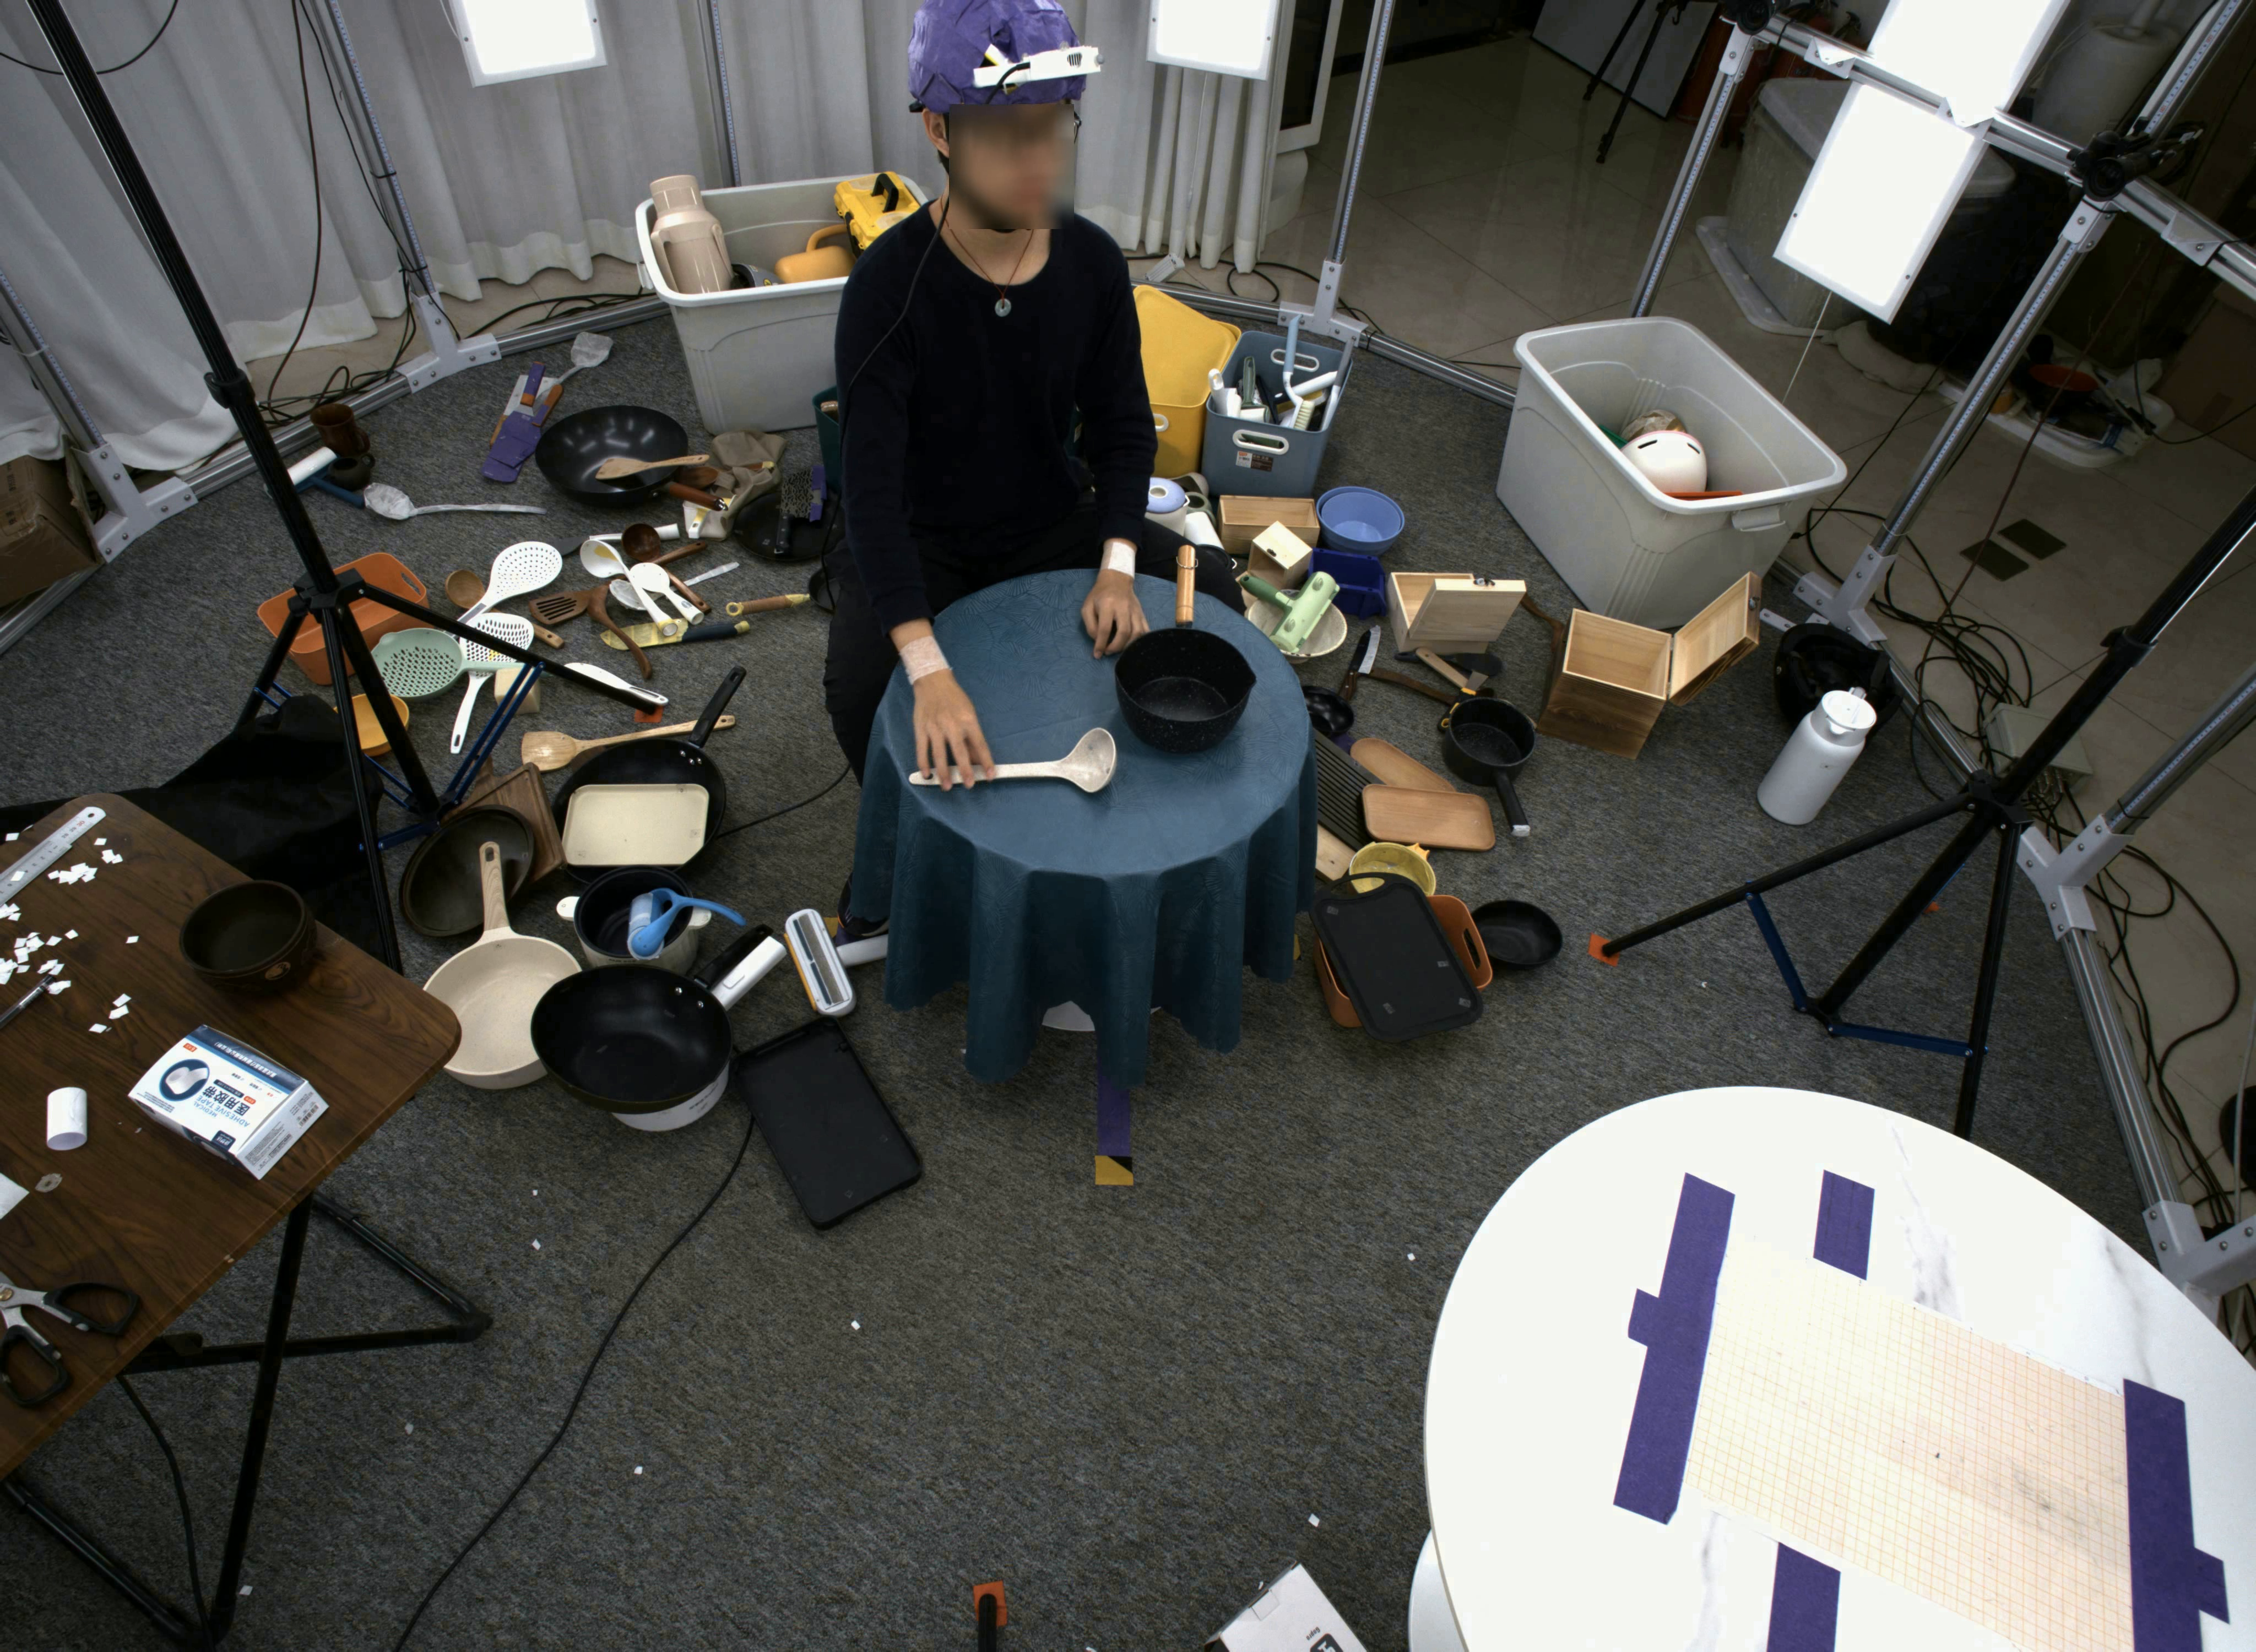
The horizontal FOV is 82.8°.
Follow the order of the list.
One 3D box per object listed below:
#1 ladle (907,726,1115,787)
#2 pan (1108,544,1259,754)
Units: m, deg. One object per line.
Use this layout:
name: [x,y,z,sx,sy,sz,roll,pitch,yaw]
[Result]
ladle: [-0.154,-0.086,1.686,0.274,0.068,0.091,-3,54,-4]
pan: [0.076,-0.252,1.822,0.207,0.105,0.351,2,50,-1]
